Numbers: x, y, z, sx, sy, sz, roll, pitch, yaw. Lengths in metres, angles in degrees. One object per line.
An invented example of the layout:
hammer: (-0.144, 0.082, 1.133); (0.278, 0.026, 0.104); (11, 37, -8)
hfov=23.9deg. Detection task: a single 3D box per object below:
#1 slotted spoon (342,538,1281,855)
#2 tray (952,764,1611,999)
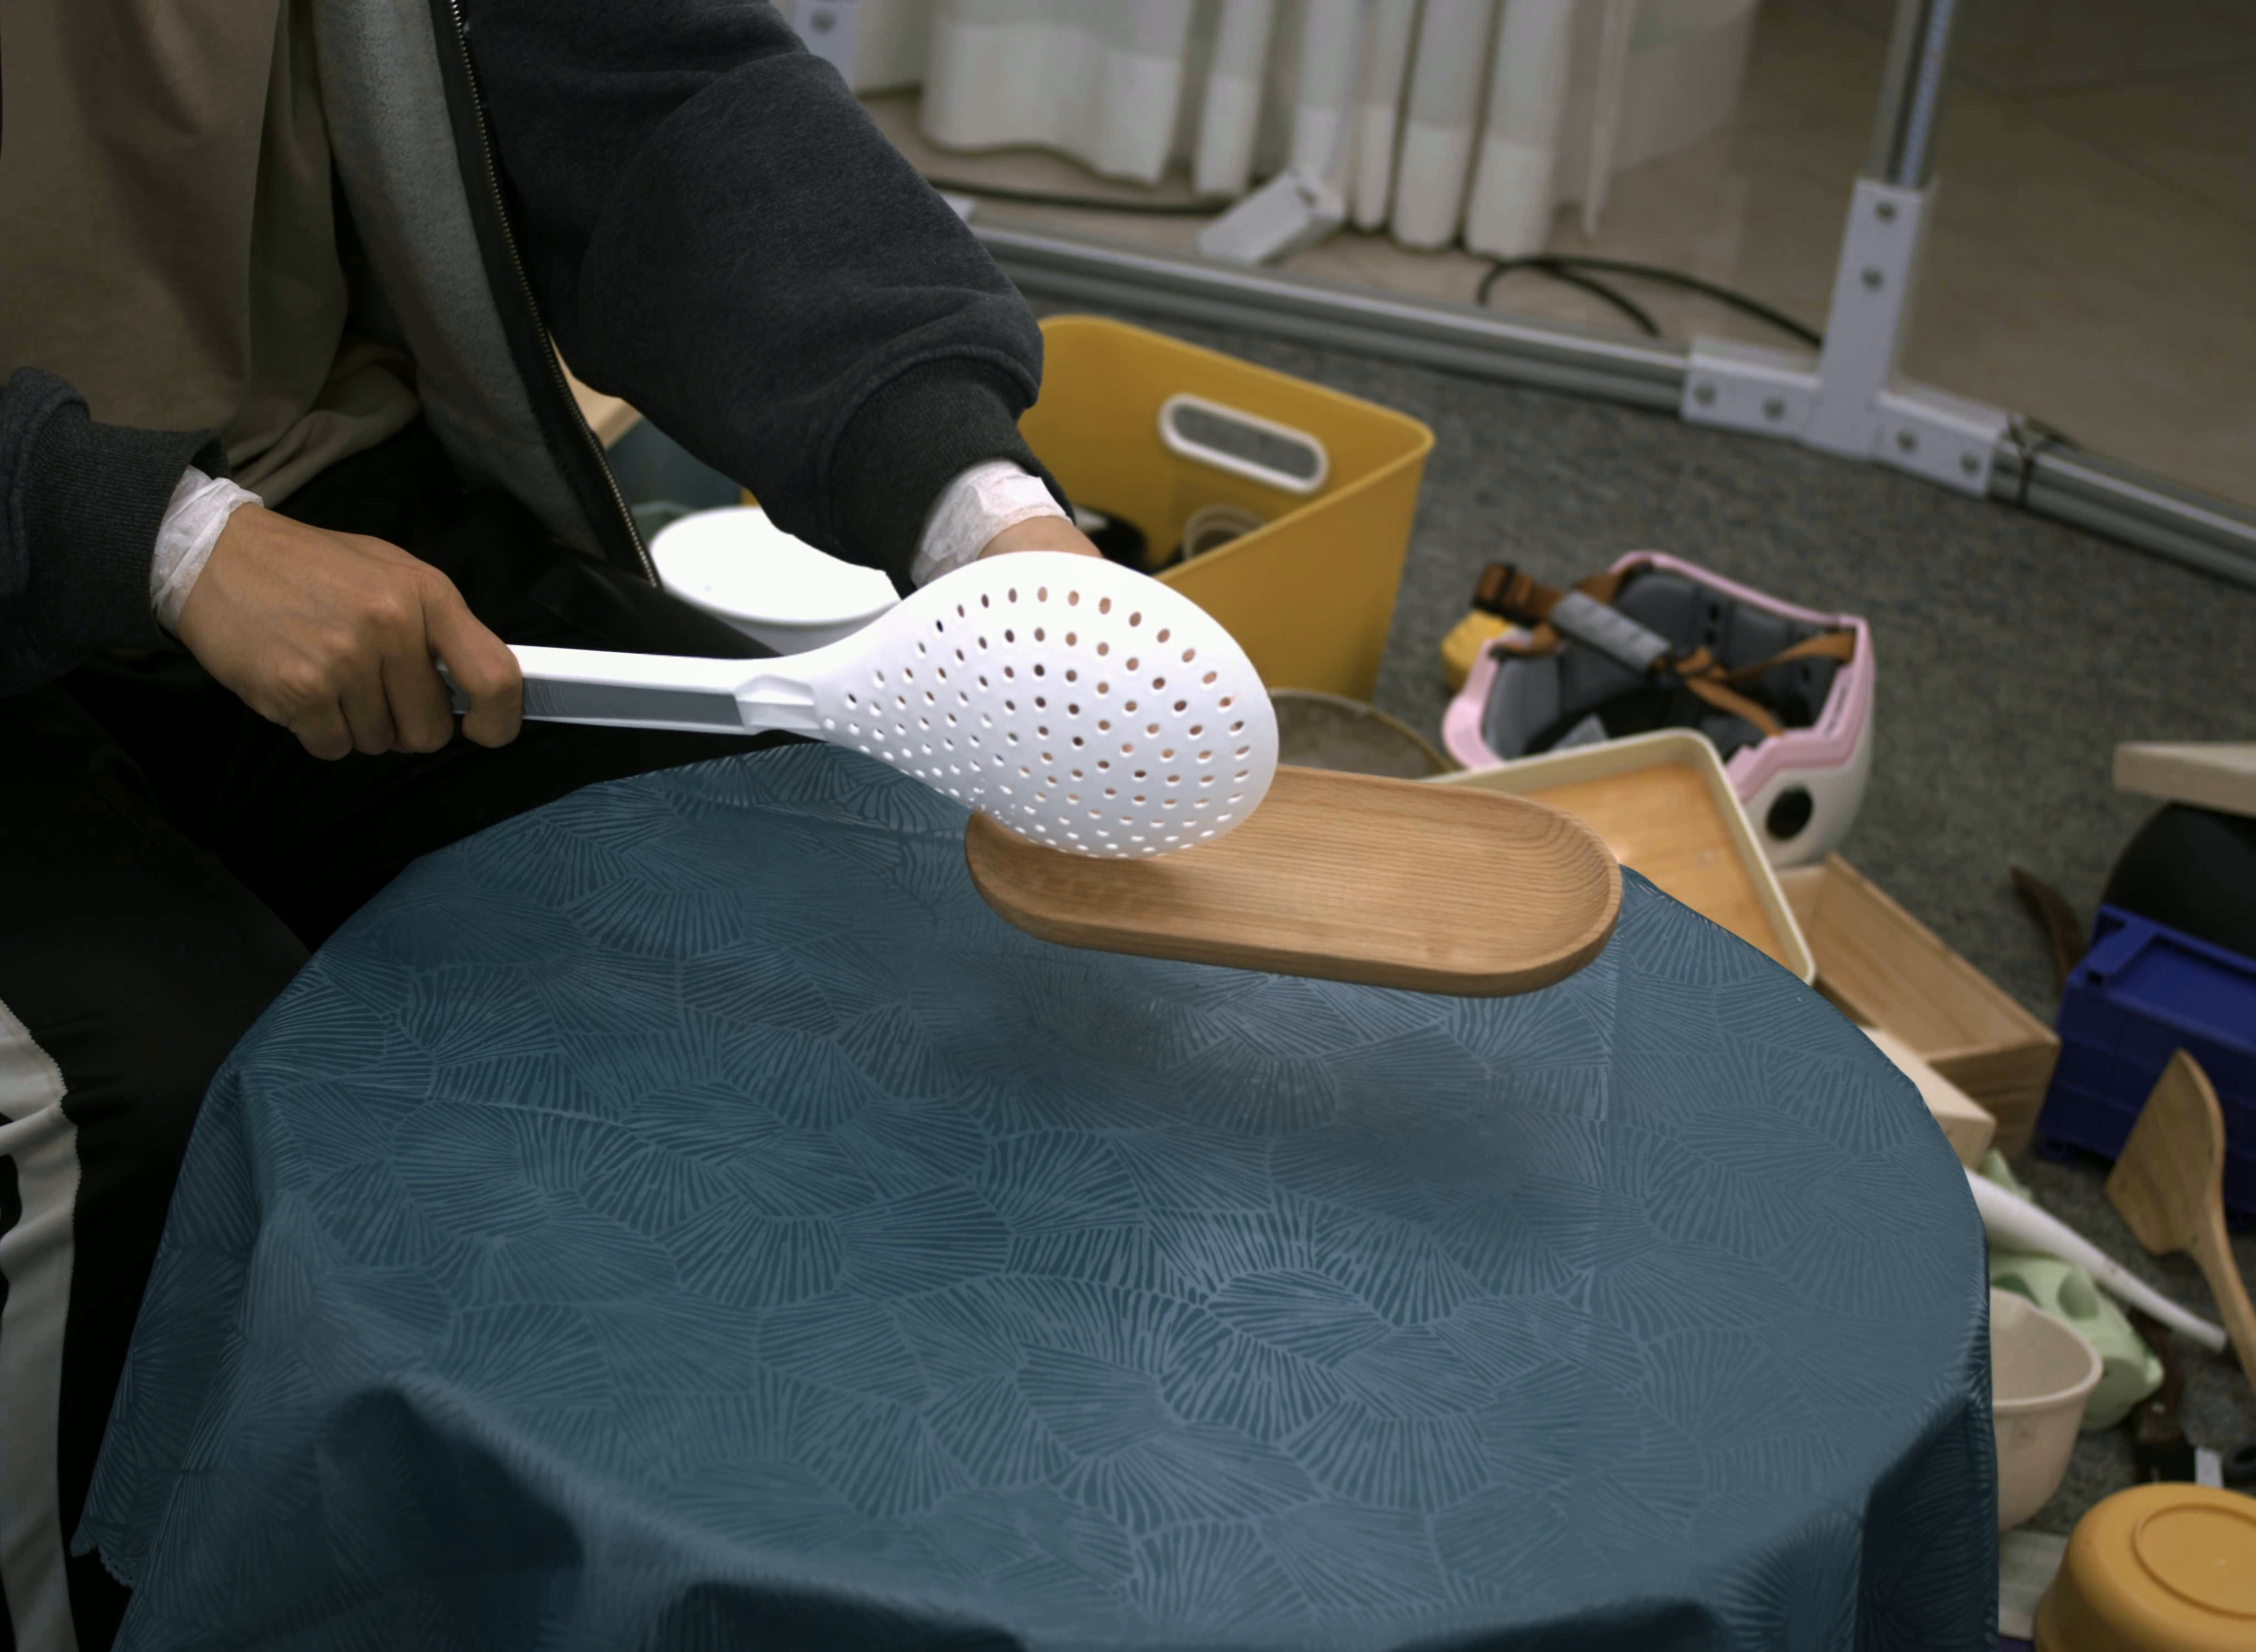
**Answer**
slotted spoon: (-0.116, -0.046, 1.851); (0.351, 0.135, 0.046); (7, 42, 24)
tray: (0.053, 0.017, 1.849); (0.231, 0.020, 0.102); (6, 38, 11)
